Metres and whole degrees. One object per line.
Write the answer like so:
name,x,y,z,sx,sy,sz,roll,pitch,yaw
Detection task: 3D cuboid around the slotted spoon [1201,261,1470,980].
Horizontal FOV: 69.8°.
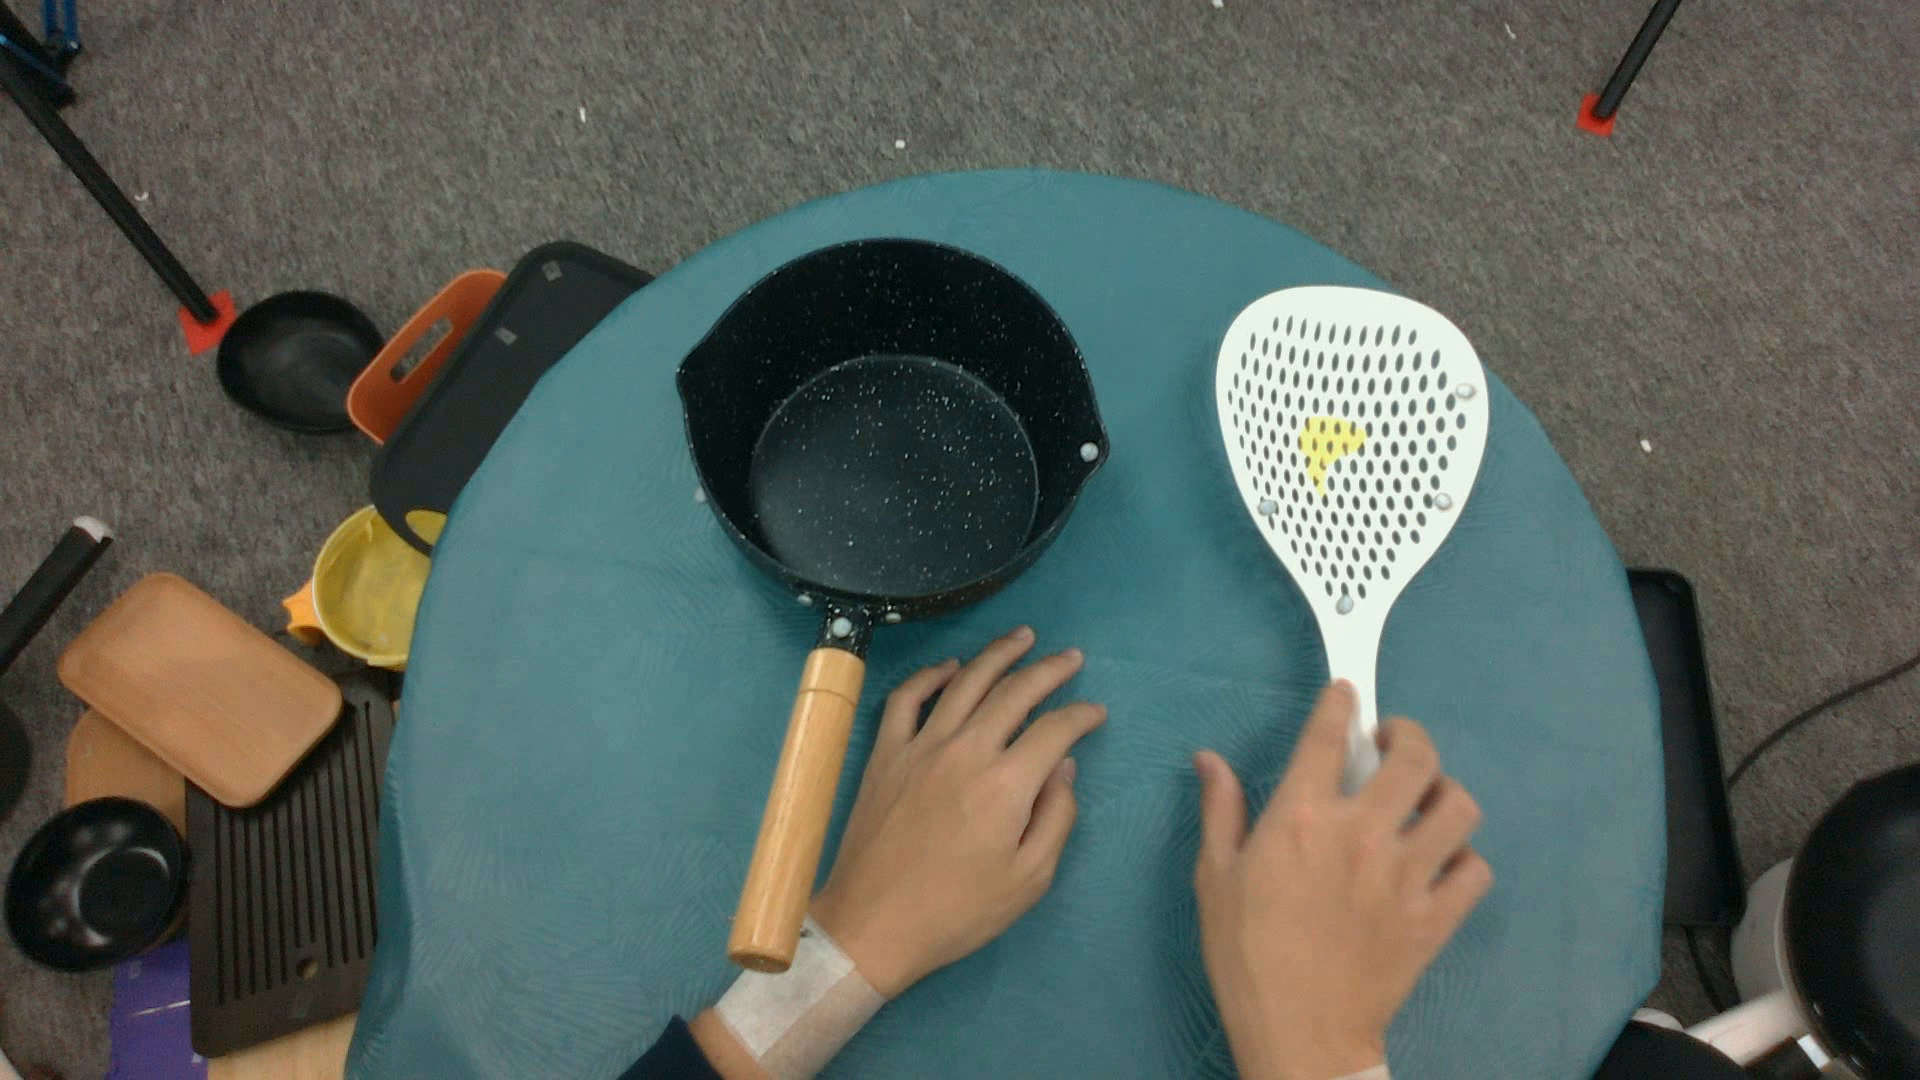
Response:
slotted spoon,0.180,0.026,0.657,0.137,0.050,0.349,5,66,-5

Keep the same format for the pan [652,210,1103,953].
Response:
pan,-0.050,0.014,0.615,0.207,0.108,0.344,10,67,0
